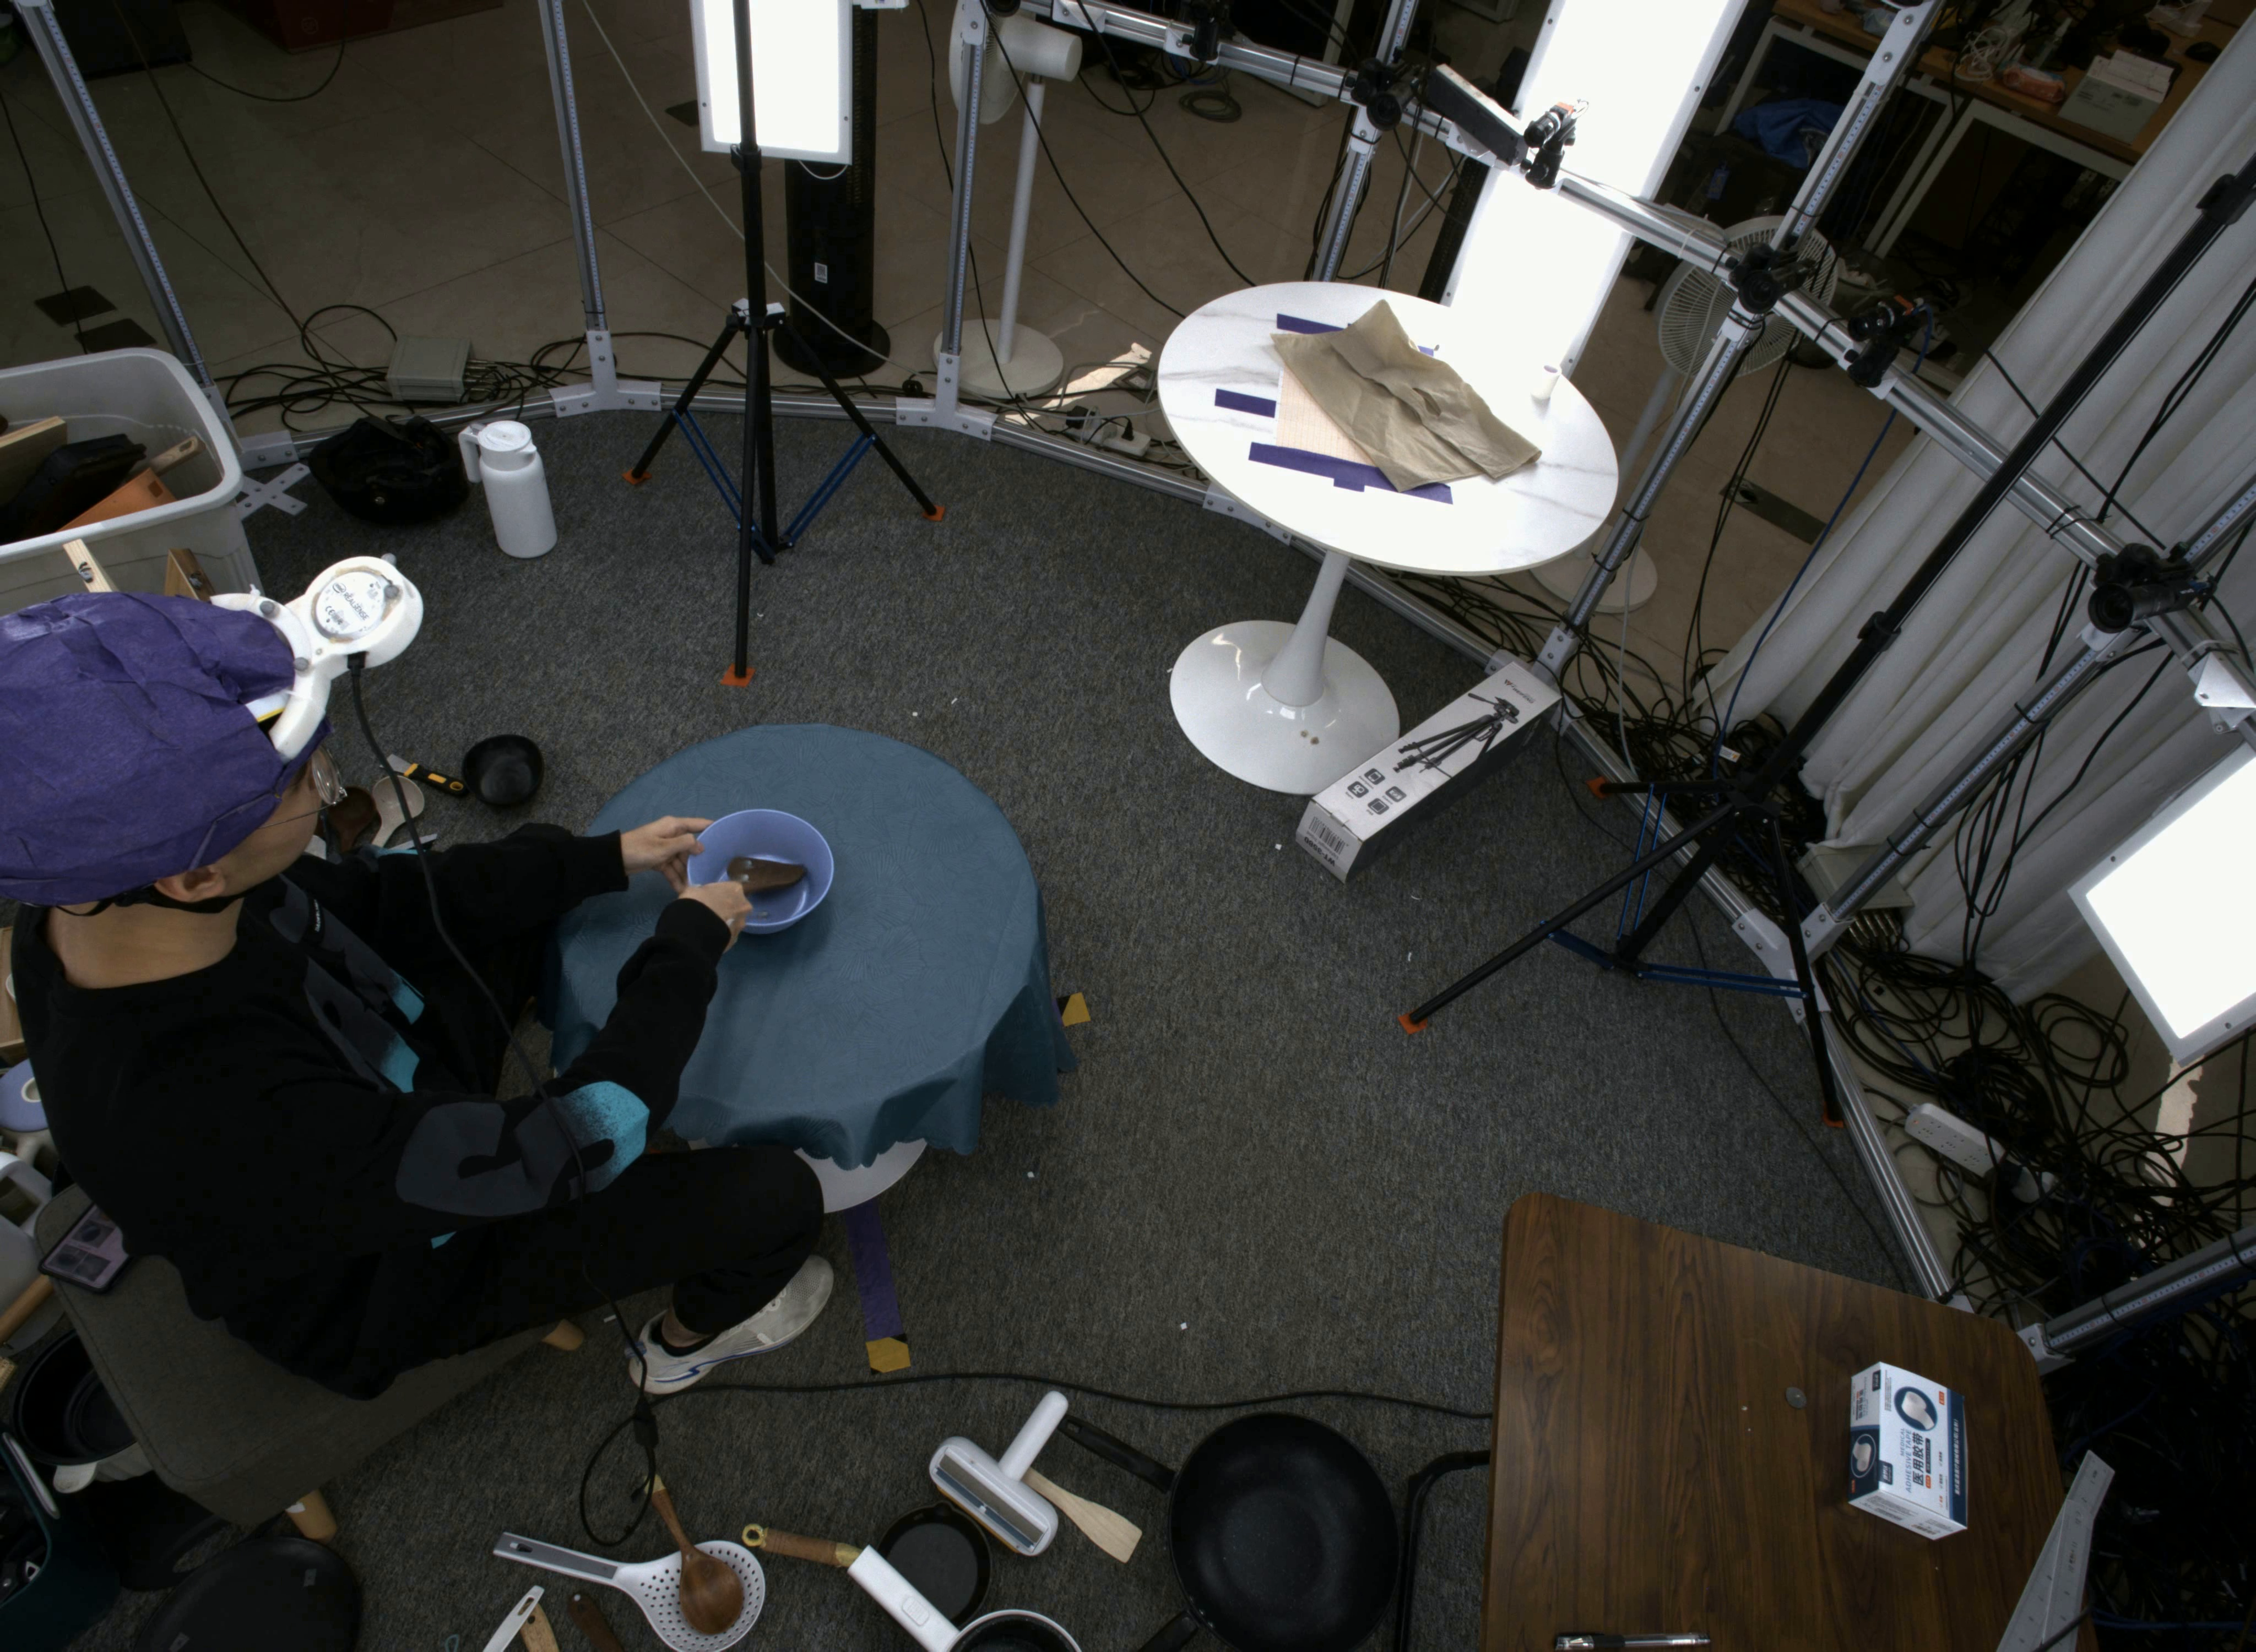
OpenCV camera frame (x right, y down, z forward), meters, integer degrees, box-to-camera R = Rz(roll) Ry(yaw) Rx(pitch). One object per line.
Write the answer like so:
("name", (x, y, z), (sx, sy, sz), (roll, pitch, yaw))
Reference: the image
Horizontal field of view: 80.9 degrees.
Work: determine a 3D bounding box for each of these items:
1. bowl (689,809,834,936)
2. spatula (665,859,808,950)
("bowl", (-0.460, 0.068, 1.625), (0.177, 0.071, 0.173), (11, 54, -13))
("spatula", (-0.458, 0.083, 1.488), (0.095, 0.016, 0.382), (11, 10, -2))
